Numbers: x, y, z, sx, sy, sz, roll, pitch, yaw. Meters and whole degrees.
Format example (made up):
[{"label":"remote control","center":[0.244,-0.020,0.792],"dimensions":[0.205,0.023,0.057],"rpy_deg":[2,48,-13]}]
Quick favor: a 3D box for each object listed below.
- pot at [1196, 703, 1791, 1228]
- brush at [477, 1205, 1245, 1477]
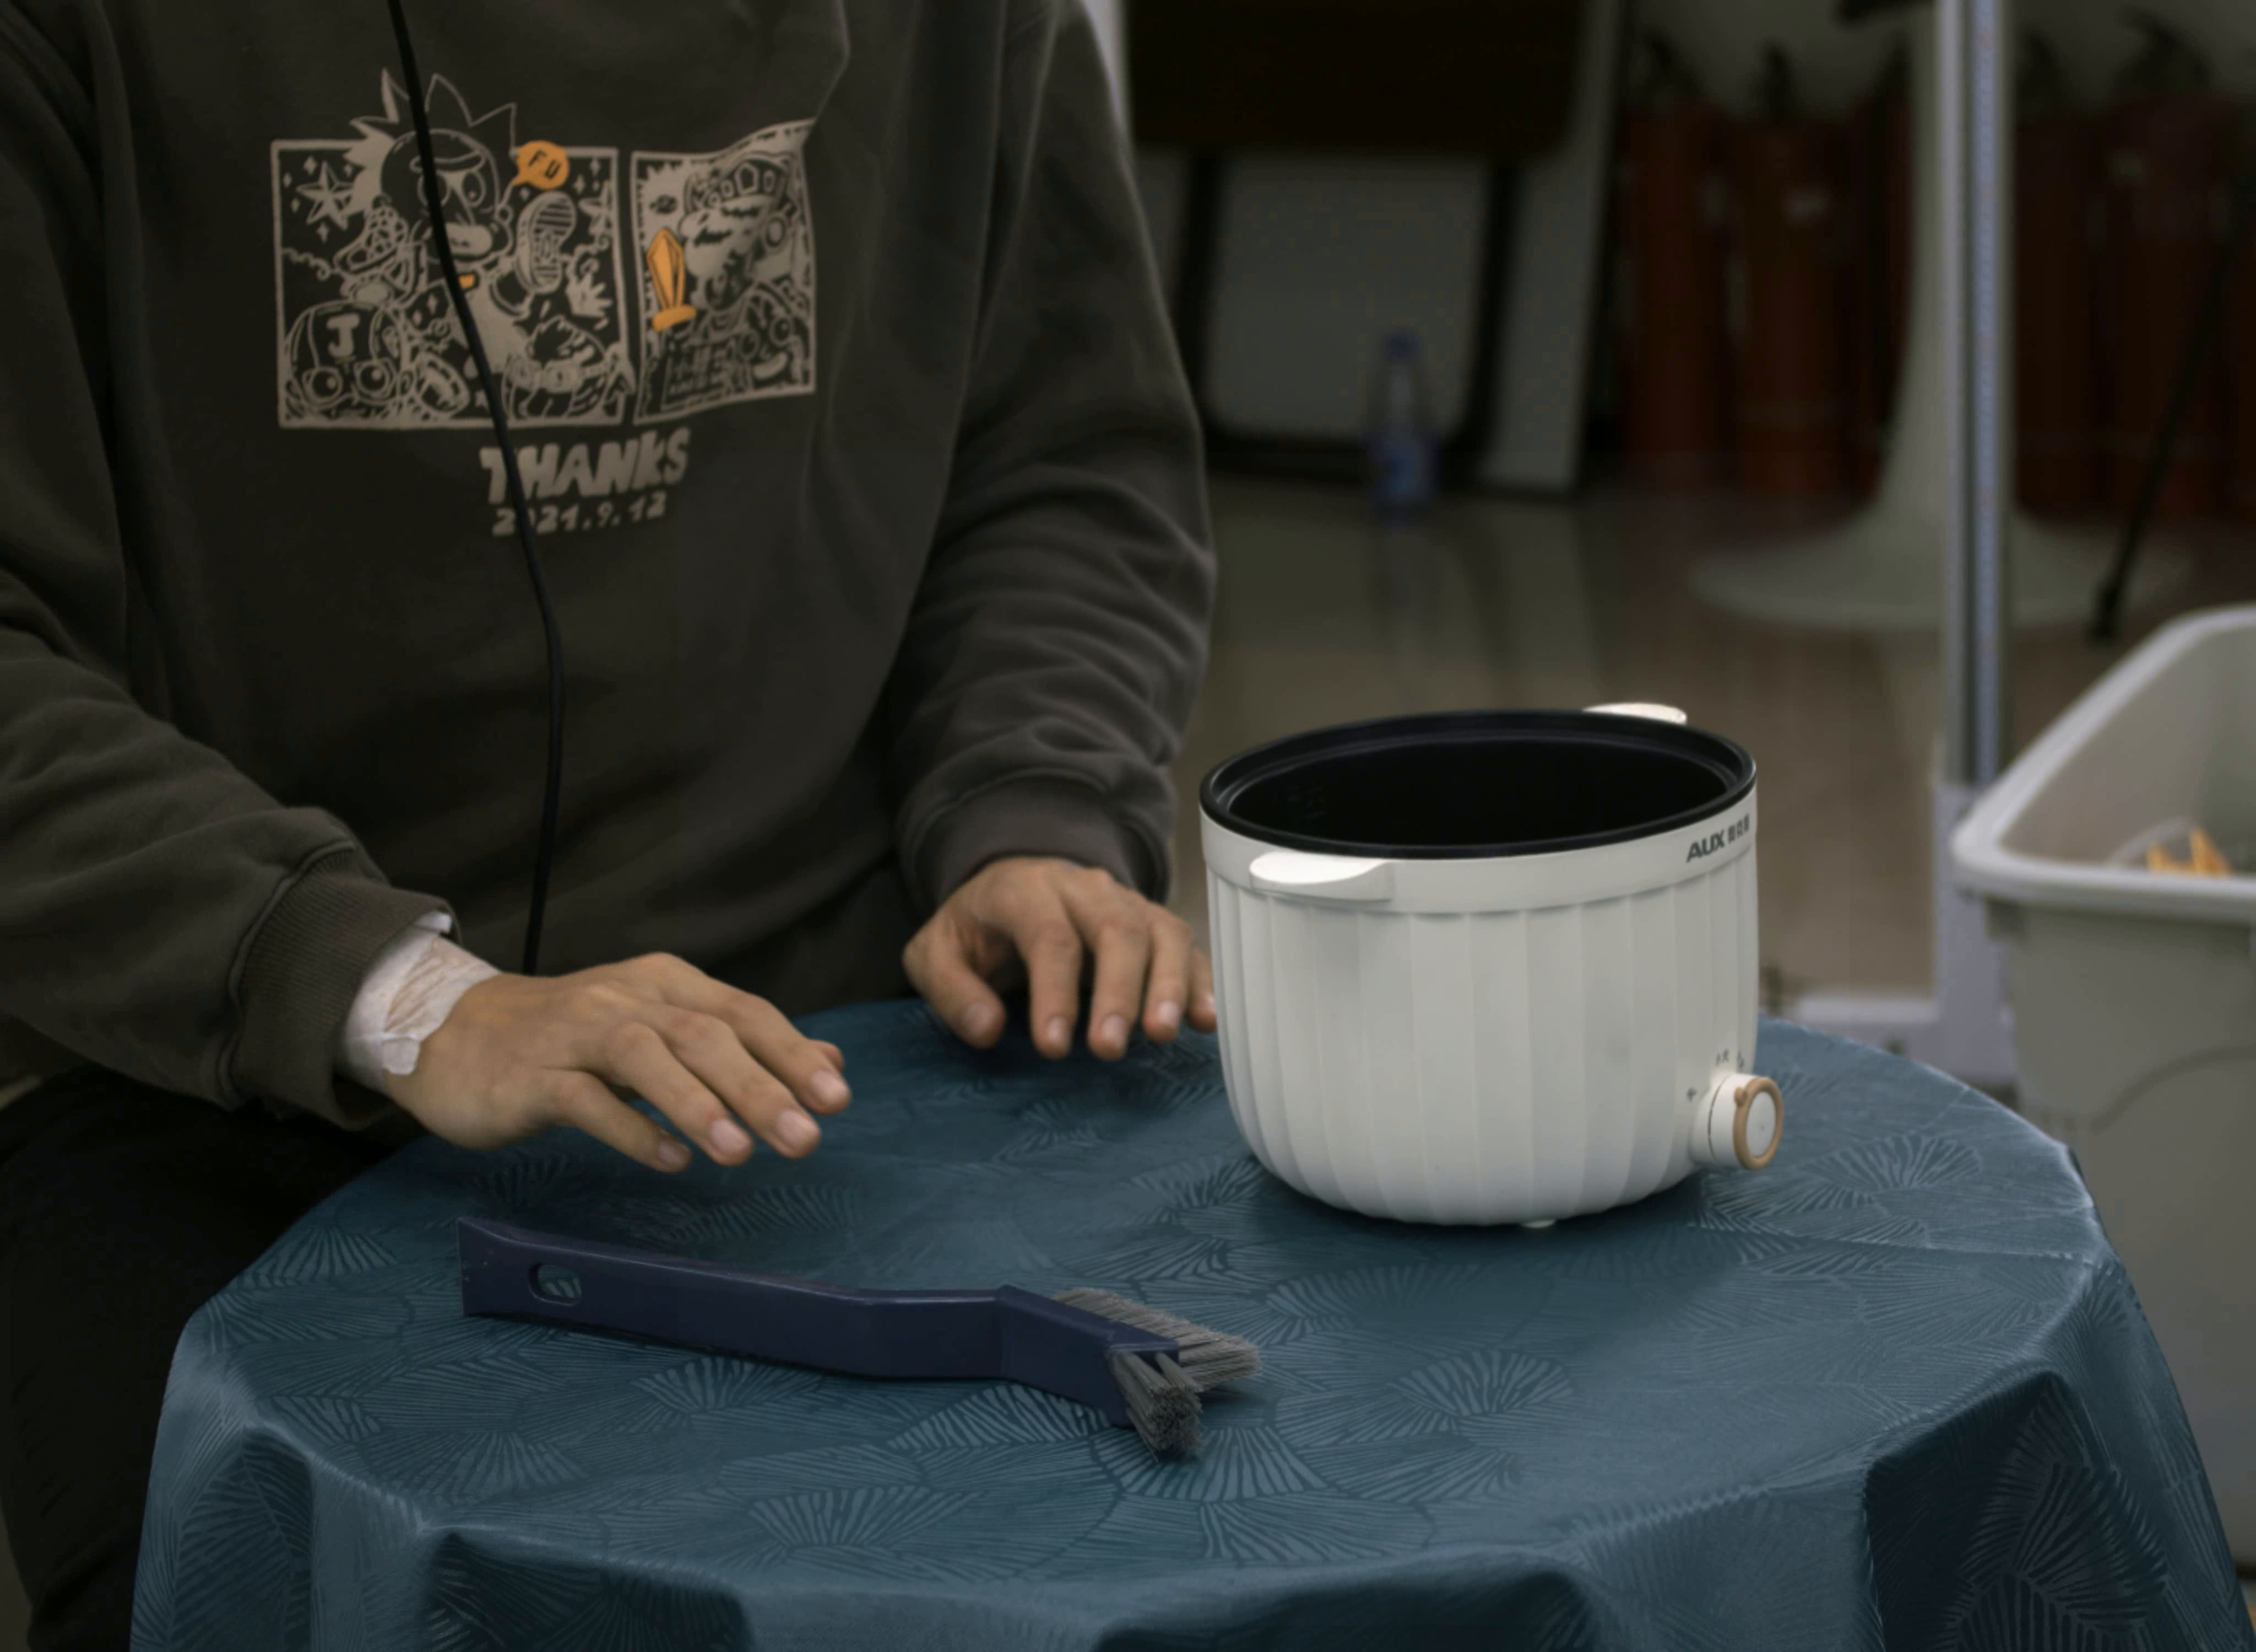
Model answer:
[{"label":"pot","center":[0.122,0.048,1.747],"dimensions":[0.191,0.144,0.236],"rpy_deg":[1,15,35]},{"label":"brush","center":[-0.093,0.151,1.615],"dimensions":[0.273,0.034,0.094],"rpy_deg":[4,16,26]}]
